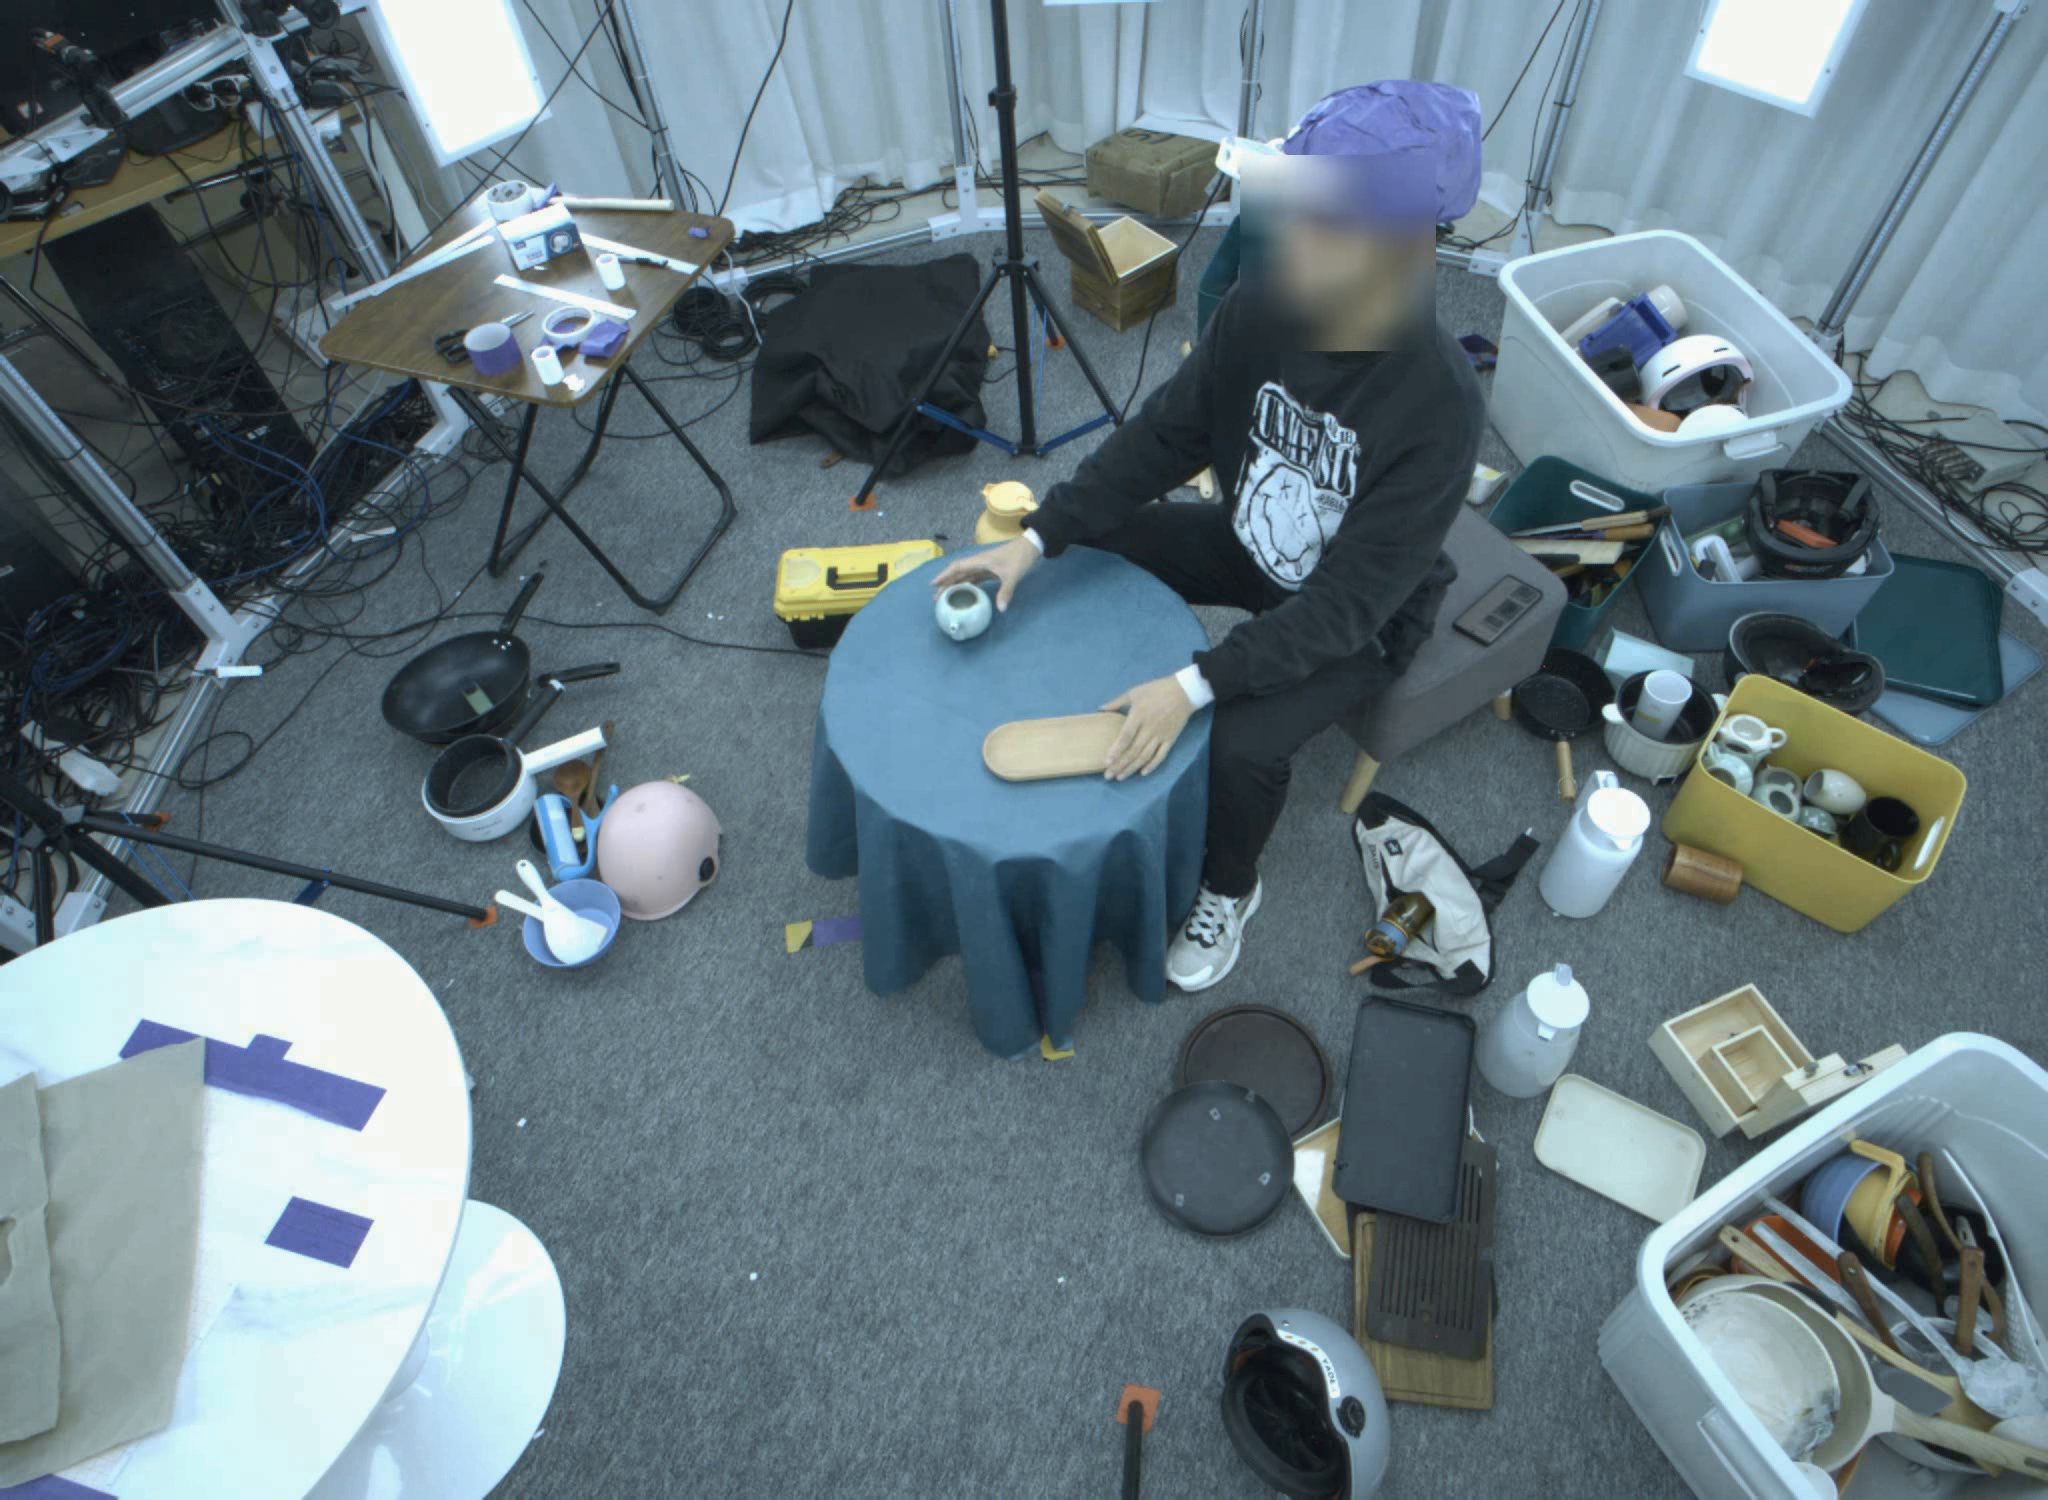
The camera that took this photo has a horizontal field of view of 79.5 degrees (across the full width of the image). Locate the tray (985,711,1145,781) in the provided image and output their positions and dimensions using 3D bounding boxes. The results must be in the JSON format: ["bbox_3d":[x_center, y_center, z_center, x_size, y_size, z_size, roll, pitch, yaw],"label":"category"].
[{"bbox_3d":[0.059,-0.006,1.776,0.232,0.020,0.100,-6,56,-4],"label":"tray"}]

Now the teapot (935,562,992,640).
[{"bbox_3d":[-0.094,-0.217,1.896,0.088,0.075,0.143,8,57,8],"label":"teapot"}]
